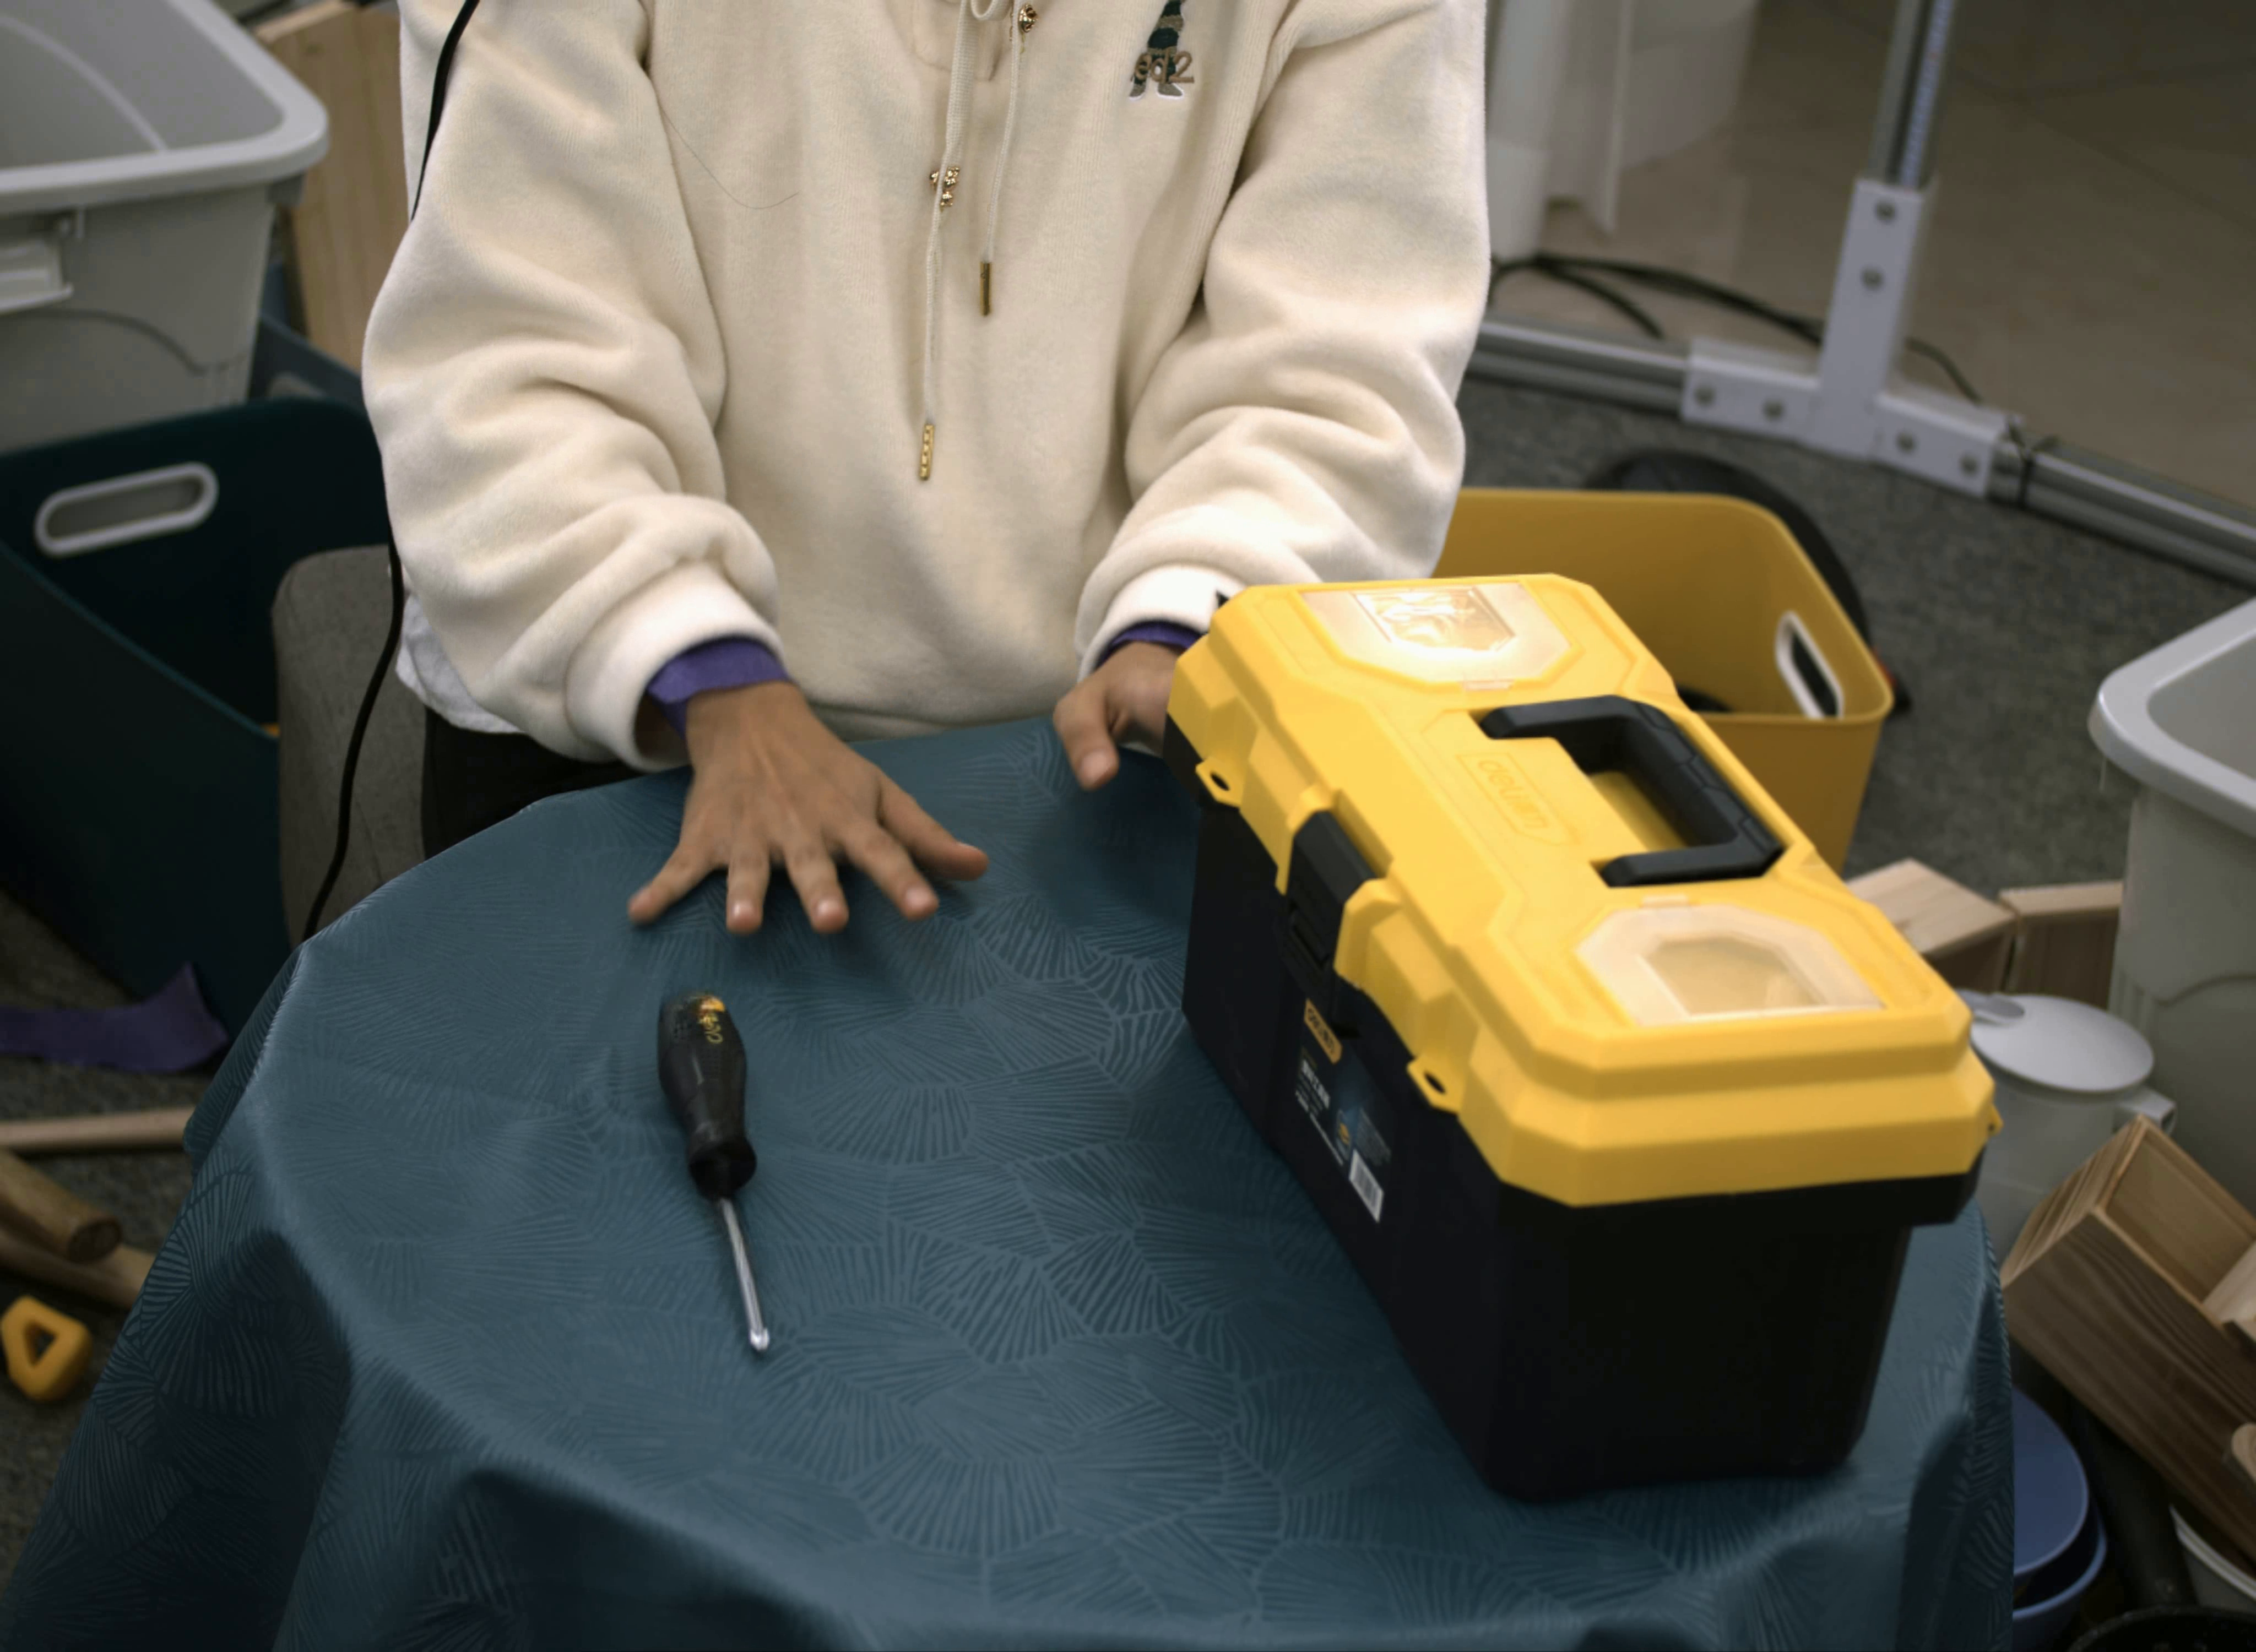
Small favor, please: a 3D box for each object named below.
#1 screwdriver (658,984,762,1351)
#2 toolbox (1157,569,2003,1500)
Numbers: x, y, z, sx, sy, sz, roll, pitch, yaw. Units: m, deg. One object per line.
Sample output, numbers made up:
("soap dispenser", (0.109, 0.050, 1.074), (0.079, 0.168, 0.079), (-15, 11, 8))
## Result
("screwdriver", (-0.135, 0.110, 1.762), (0.031, 0.031, 0.198), (1, 29, -12))
("toolbox", (0.136, 0.061, 1.764), (0.180, 0.172, 0.354), (-3, 28, -18))
